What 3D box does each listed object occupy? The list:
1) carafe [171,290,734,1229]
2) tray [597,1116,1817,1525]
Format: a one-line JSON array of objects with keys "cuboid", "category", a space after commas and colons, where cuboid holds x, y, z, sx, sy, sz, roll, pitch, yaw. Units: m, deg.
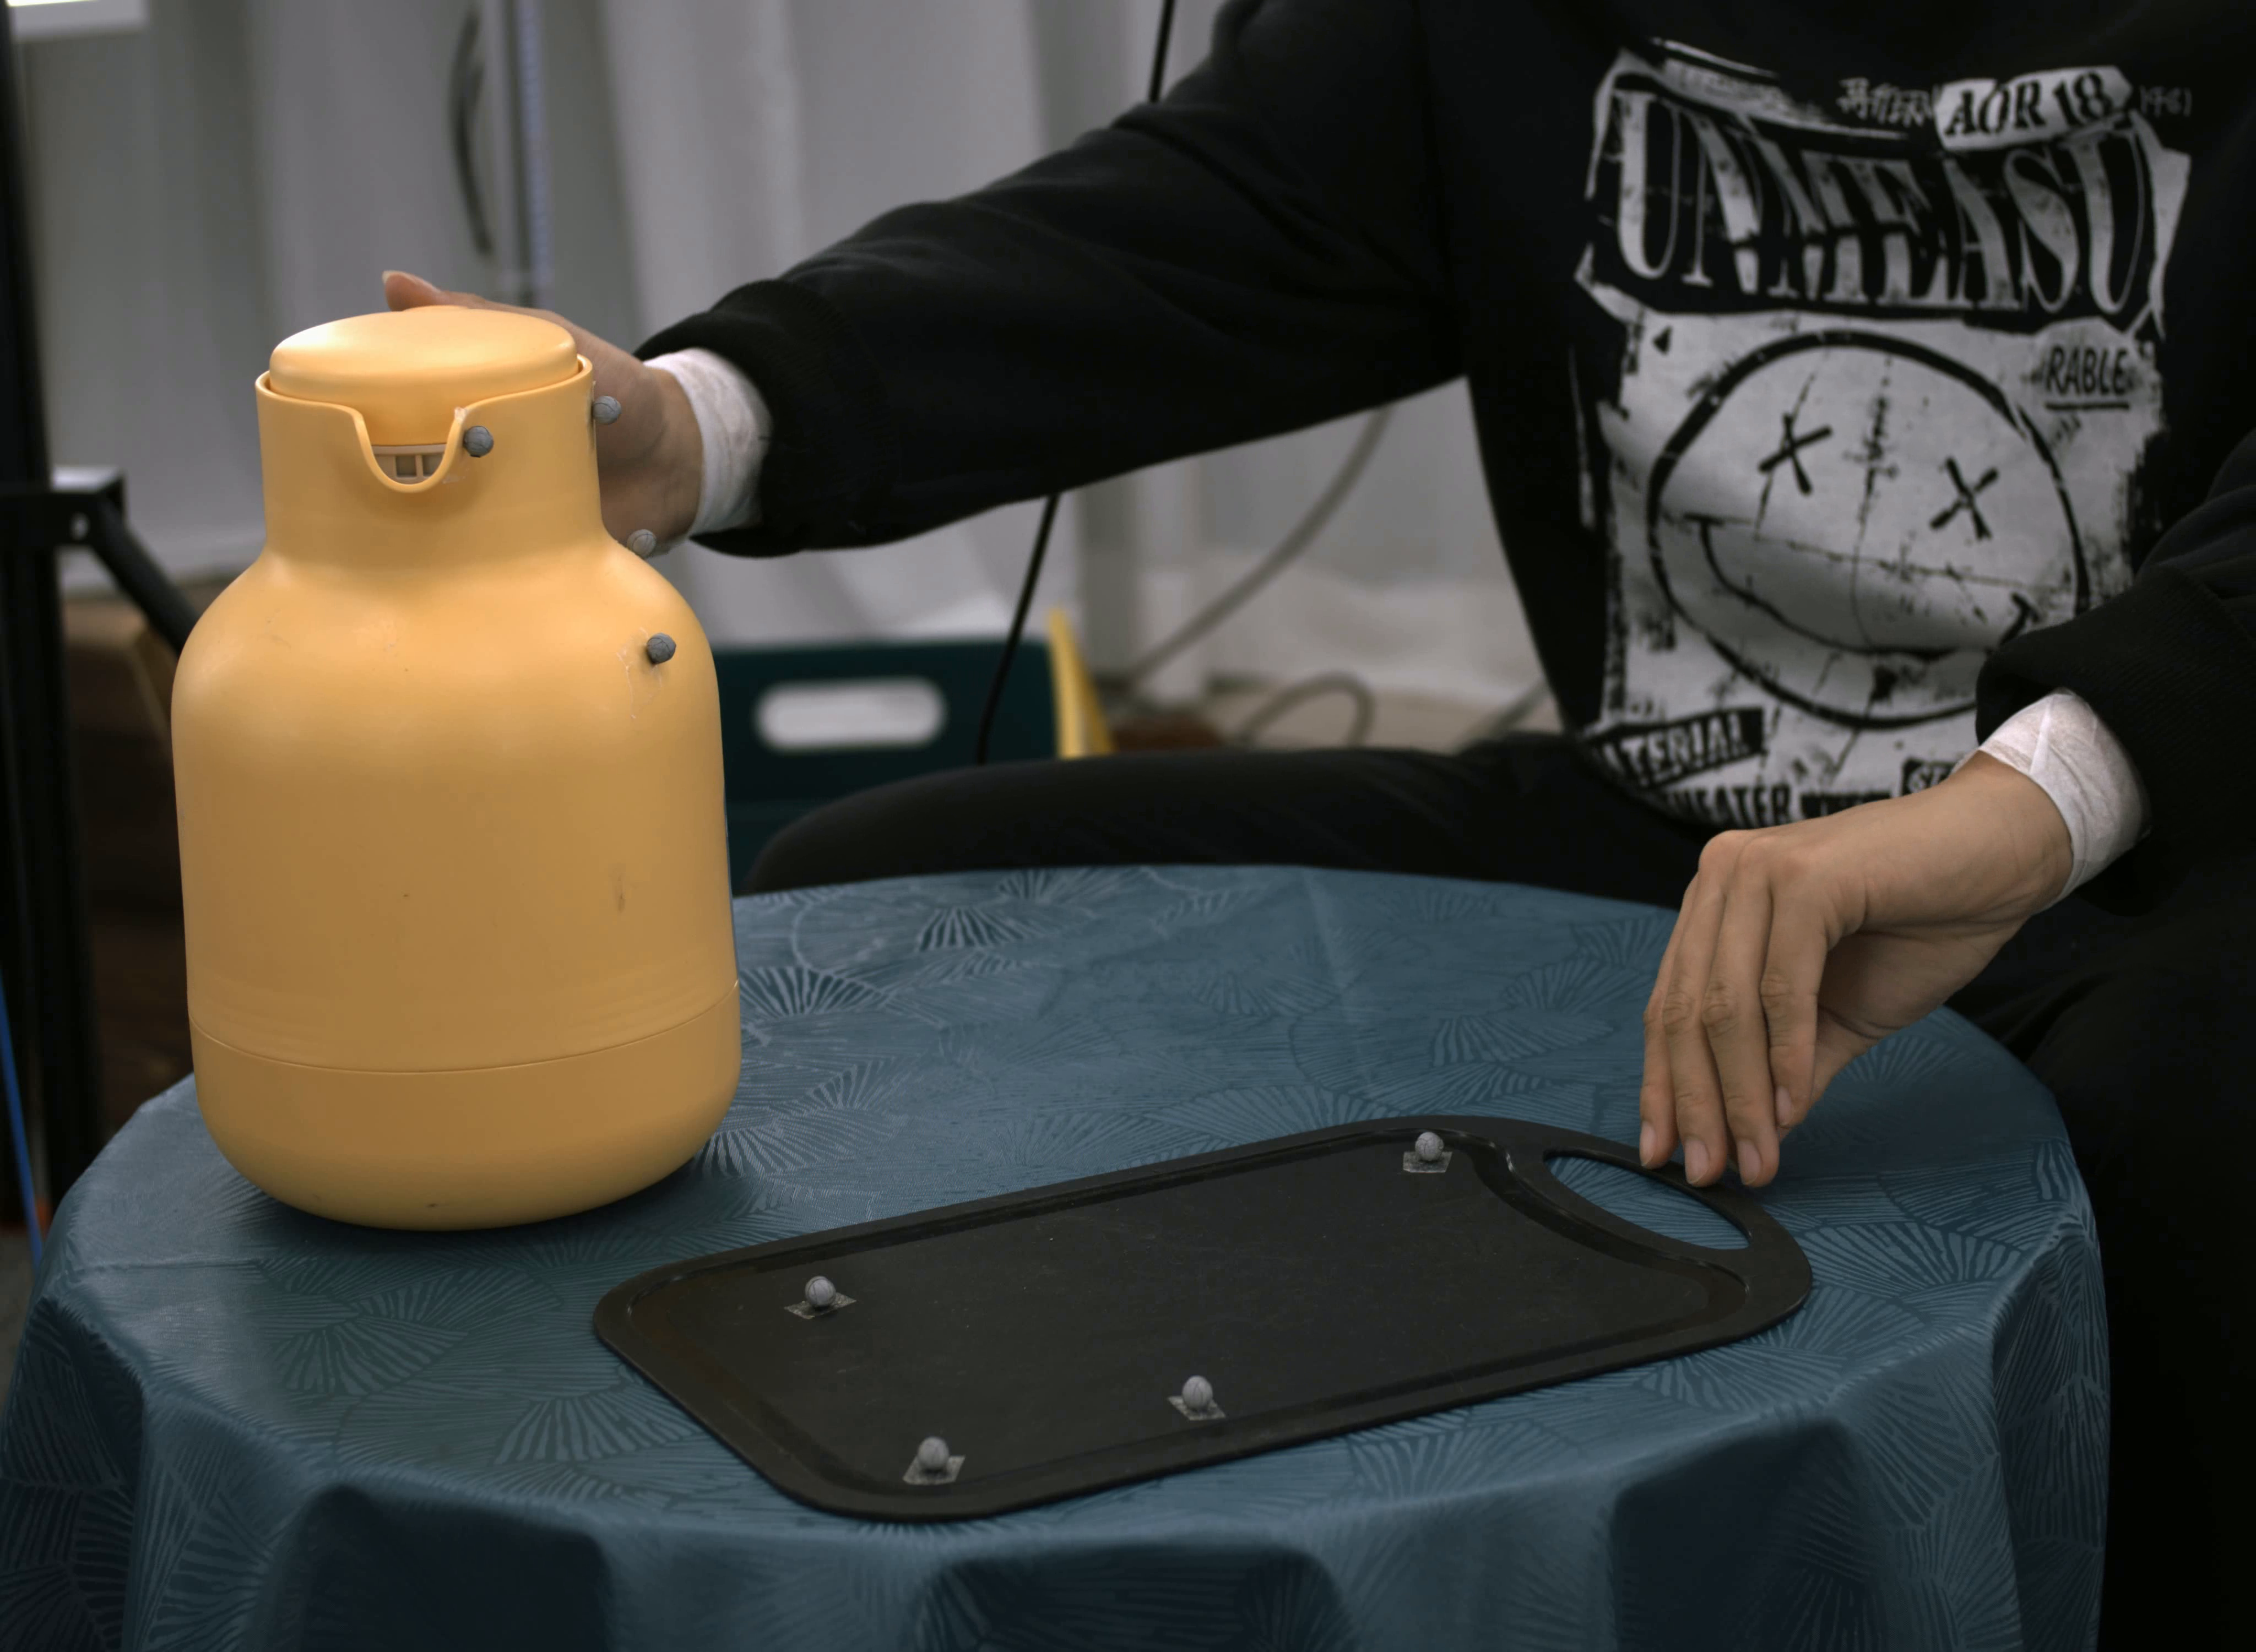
[{"cuboid": [-0.199, -0.028, 1.589, 0.163, 0.260, 0.203, 0, 17, 0], "category": "carafe"}, {"cuboid": [0.028, 0.129, 1.466, 0.319, 0.010, 0.215, -10, 18, -23], "category": "tray"}]
